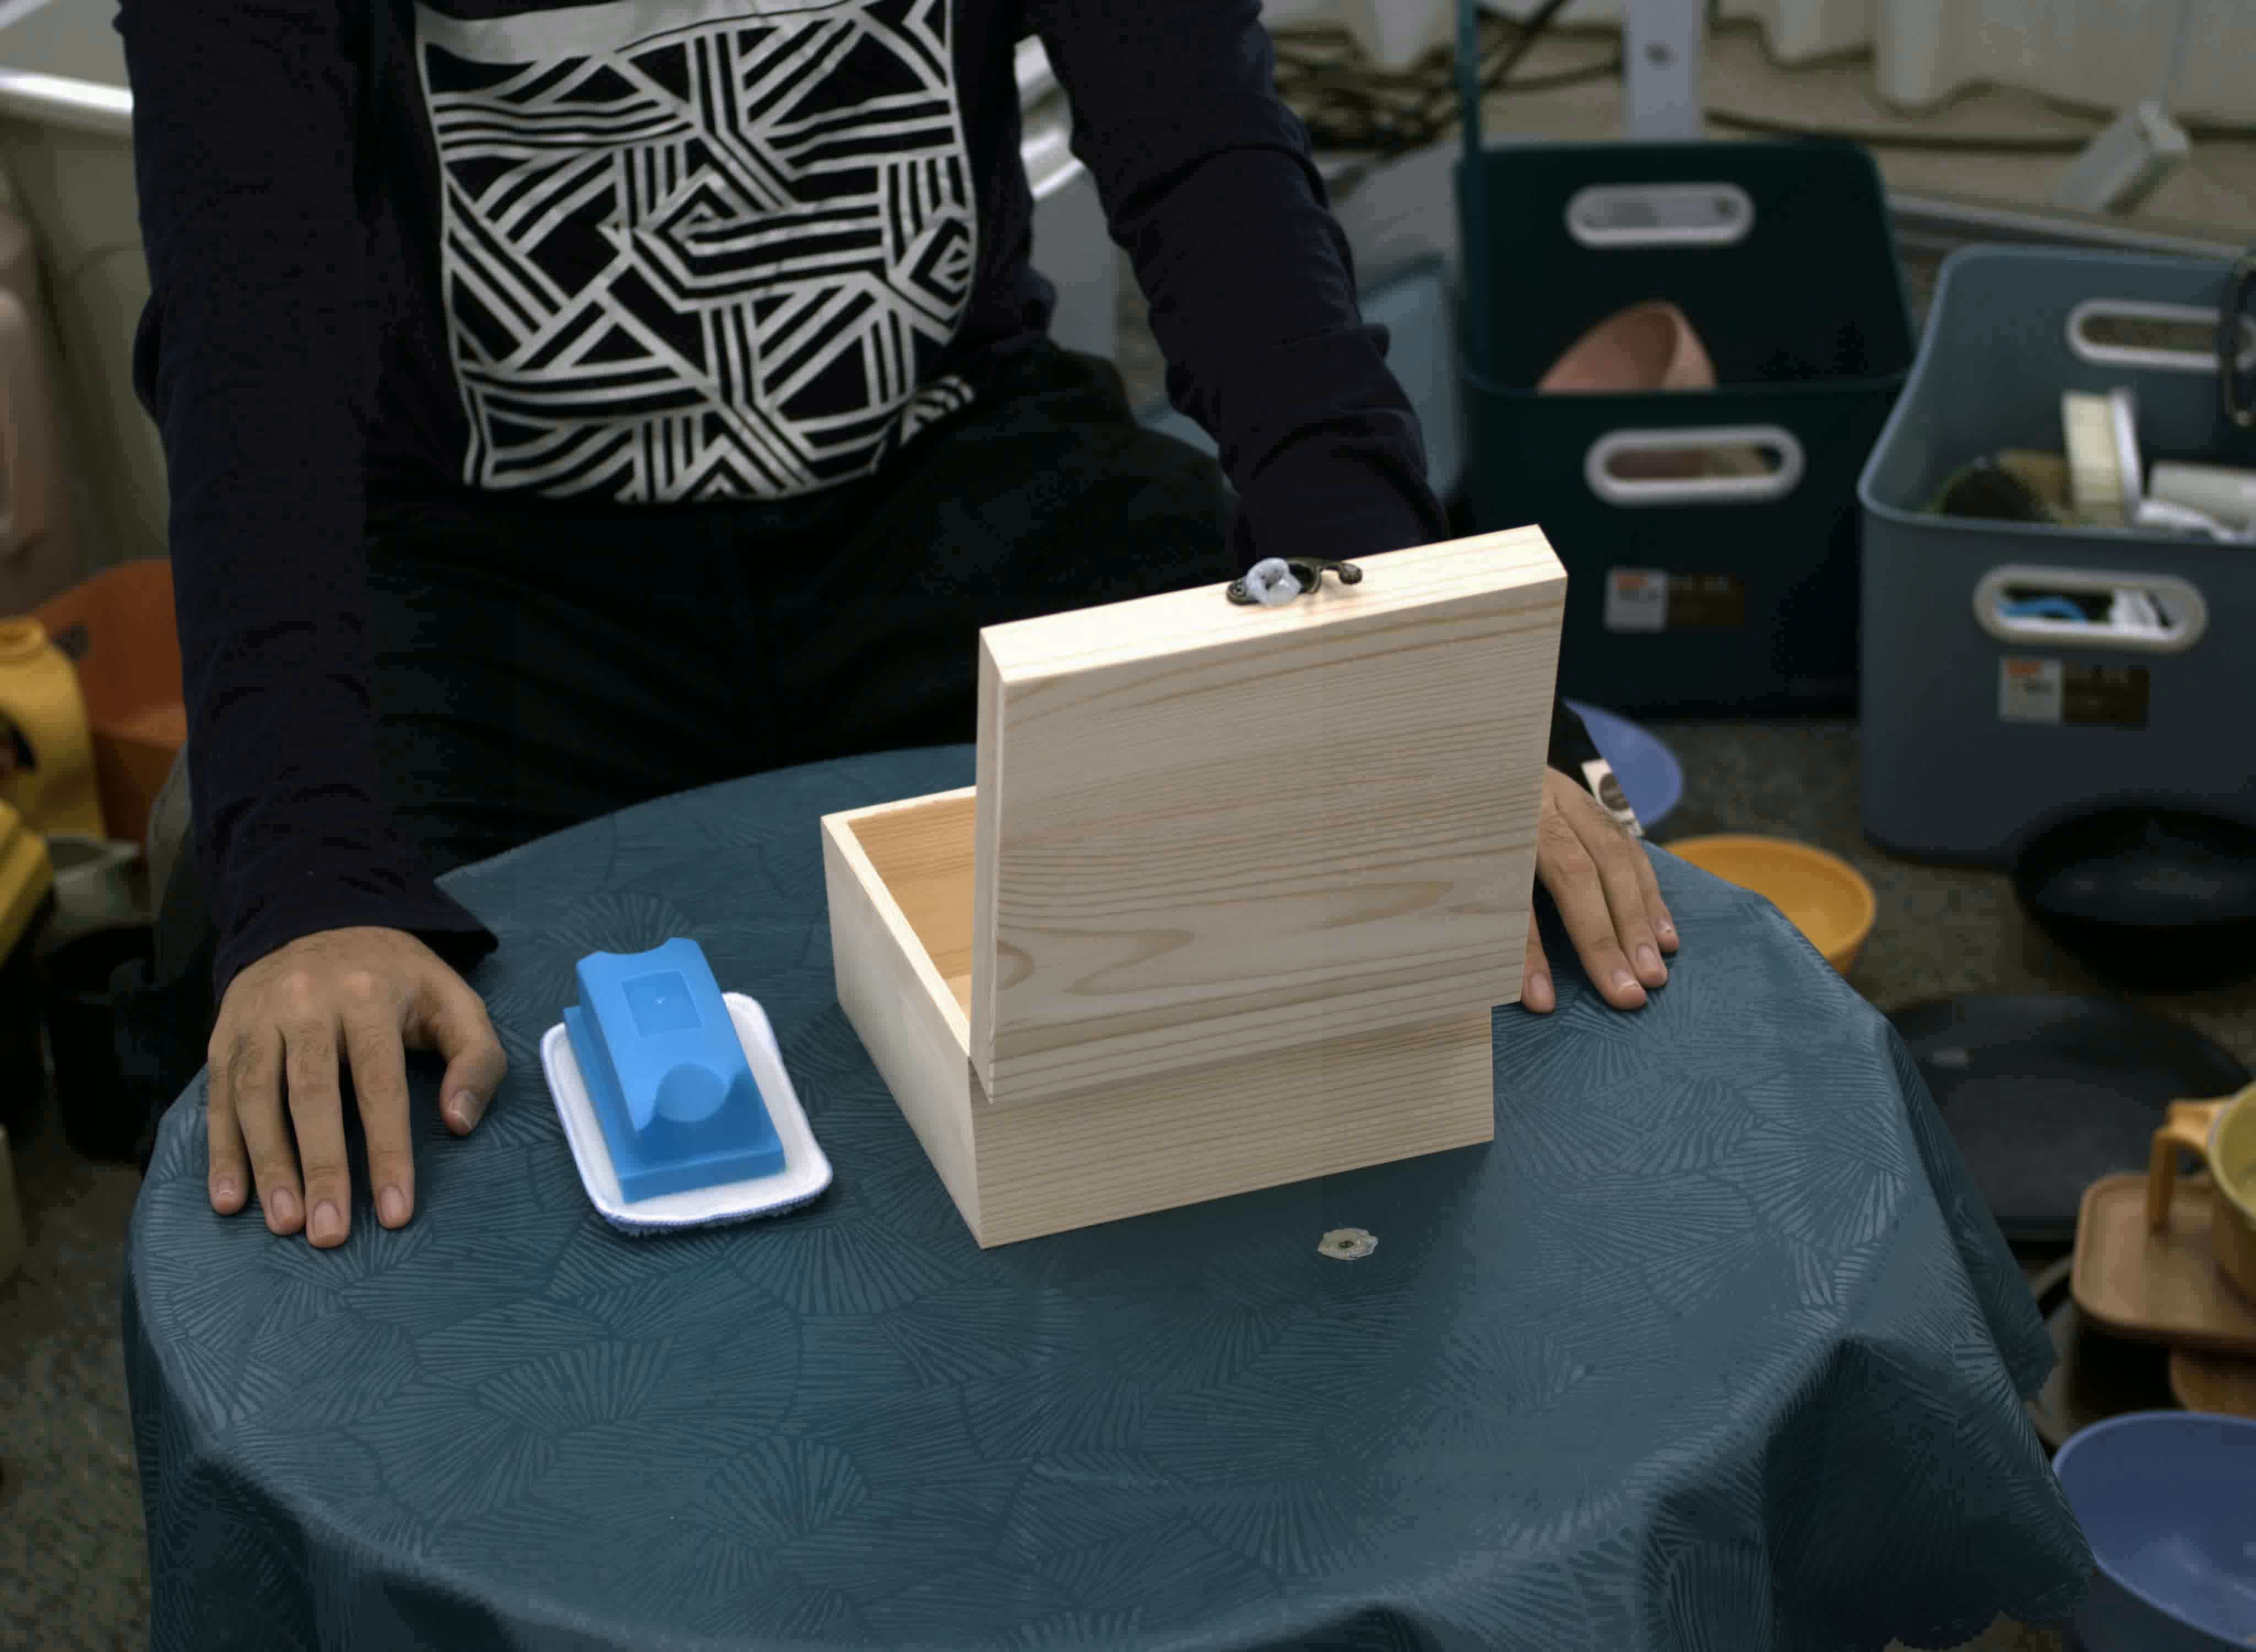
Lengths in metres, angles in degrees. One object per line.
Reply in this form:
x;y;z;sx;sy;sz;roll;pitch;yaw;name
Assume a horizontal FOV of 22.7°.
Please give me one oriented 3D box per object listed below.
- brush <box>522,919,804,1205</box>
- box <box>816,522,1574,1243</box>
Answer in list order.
-0.157;0.076;1.899;0.084;0.055;0.145;-5;29;-12;brush
0.014;-0.012;1.847;0.182;0.250;0.267;-10;27;-16;box
